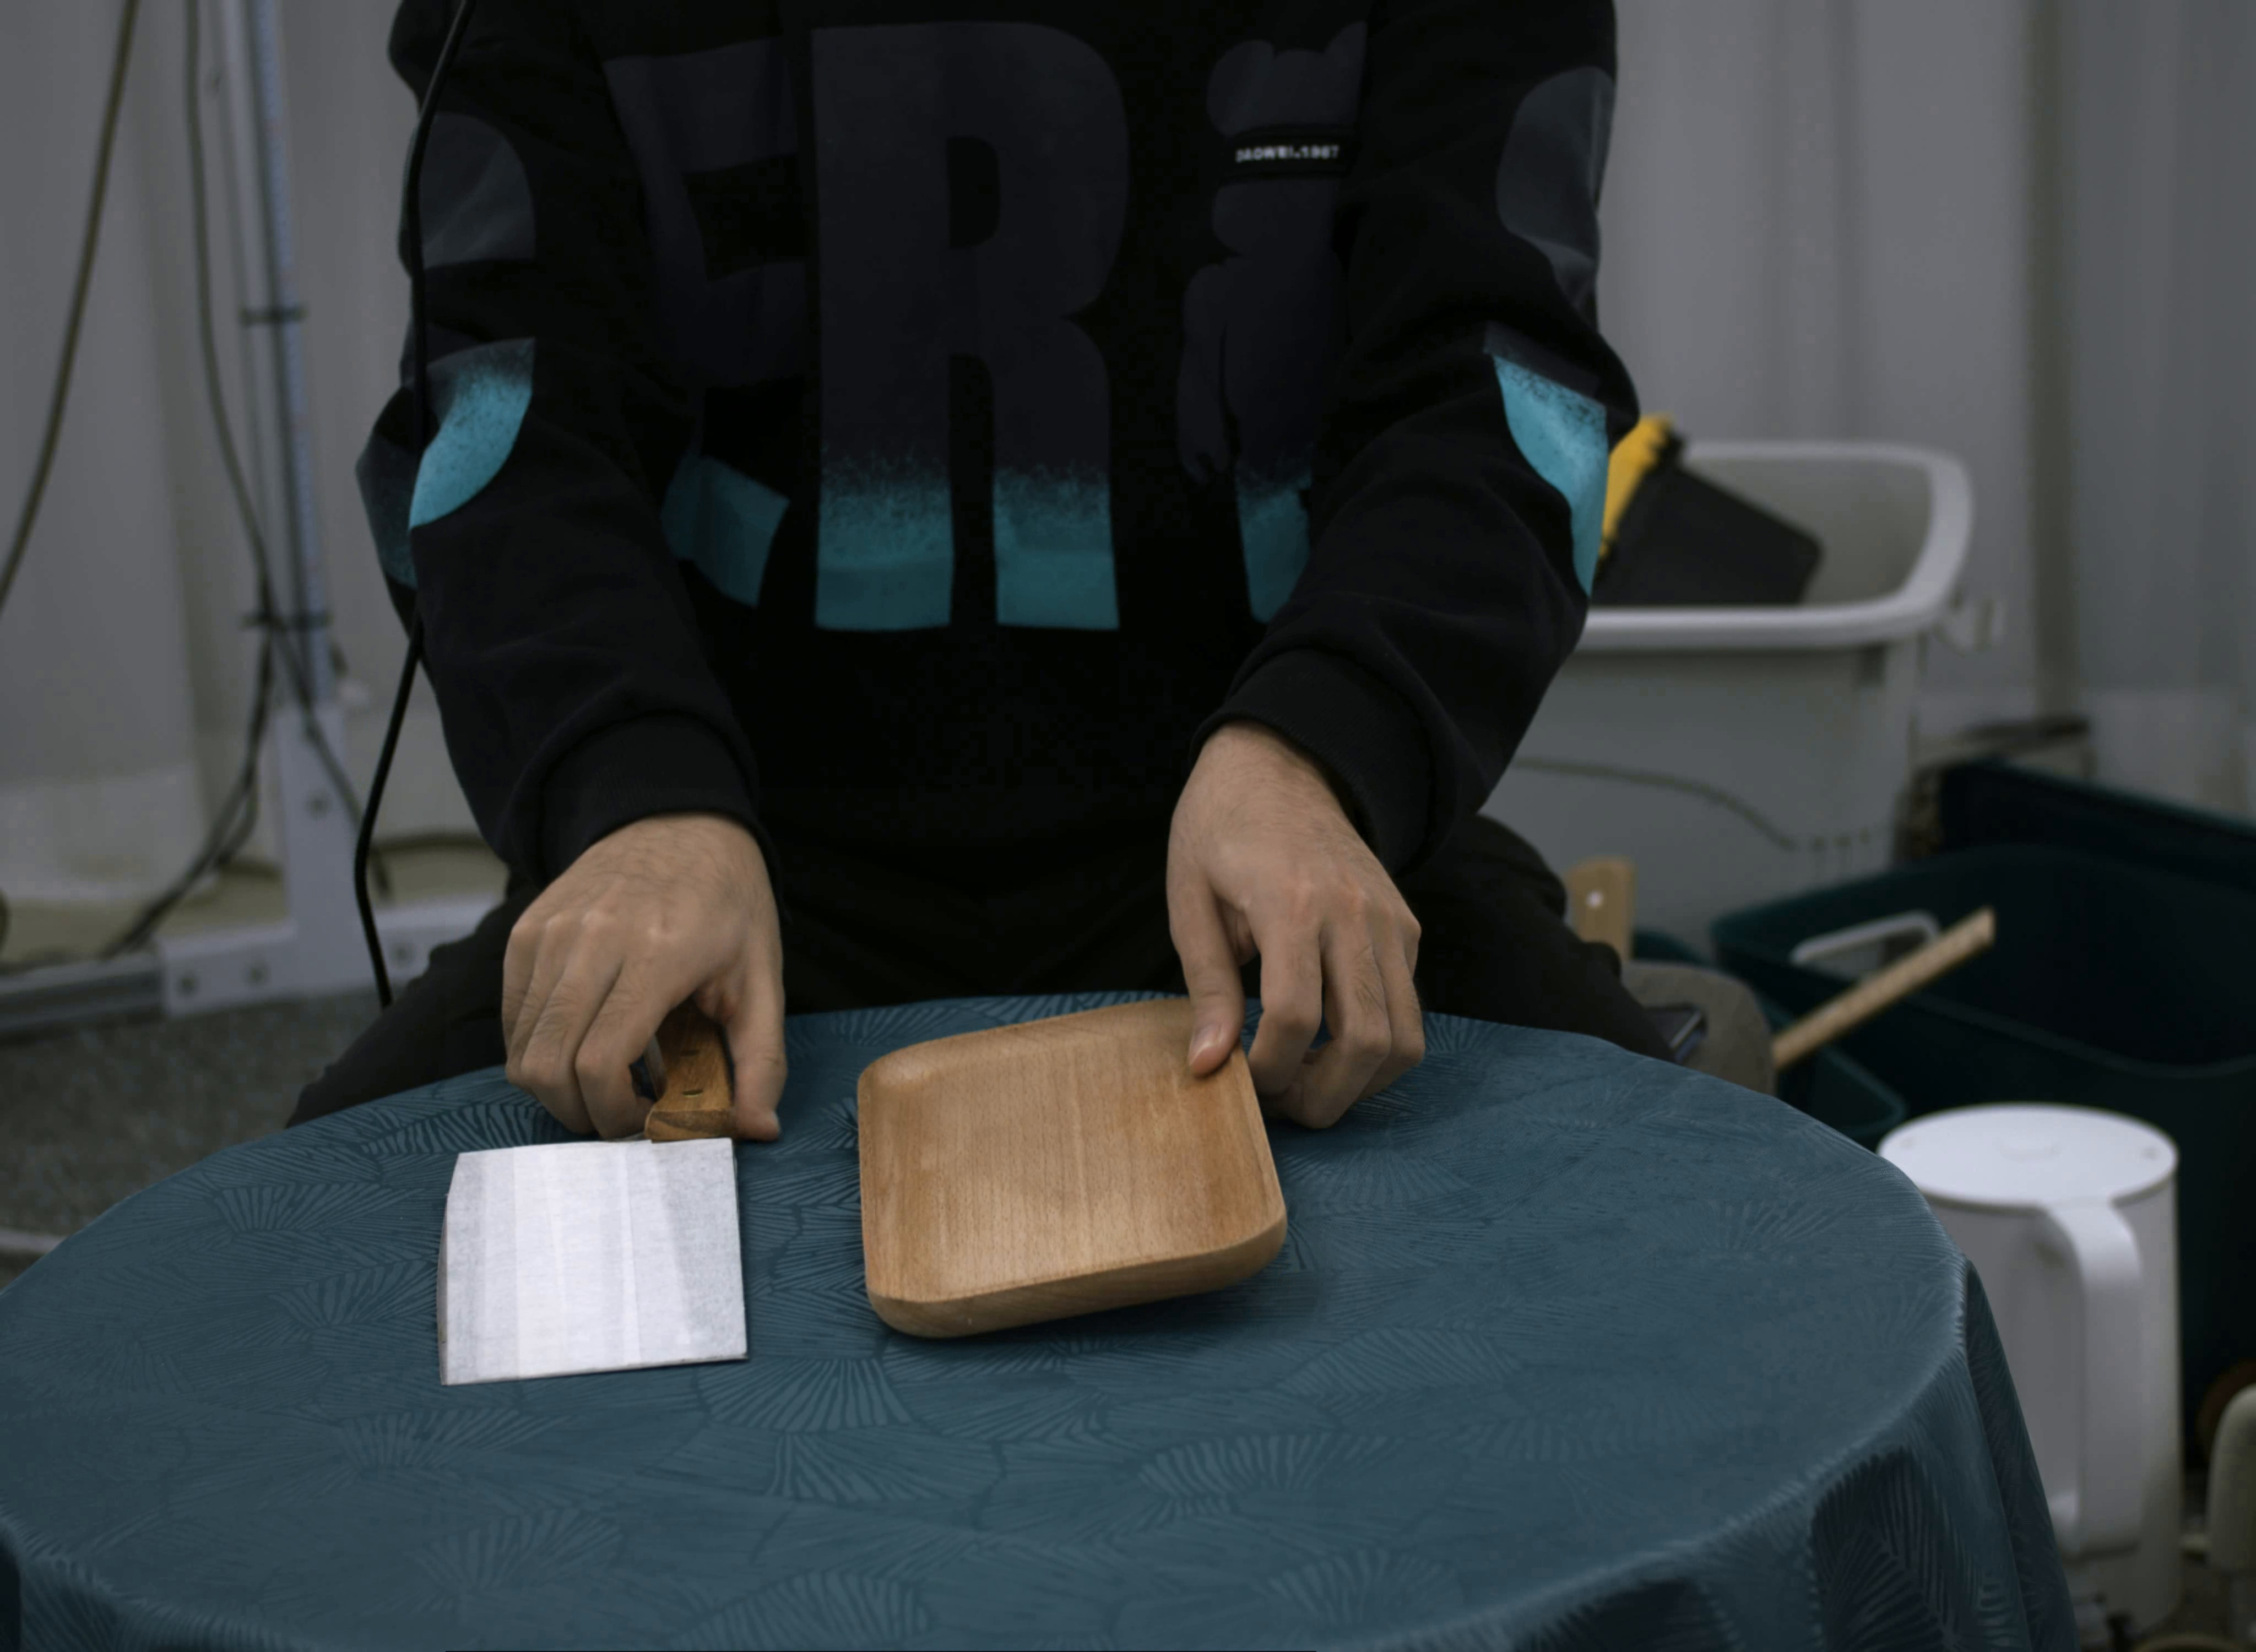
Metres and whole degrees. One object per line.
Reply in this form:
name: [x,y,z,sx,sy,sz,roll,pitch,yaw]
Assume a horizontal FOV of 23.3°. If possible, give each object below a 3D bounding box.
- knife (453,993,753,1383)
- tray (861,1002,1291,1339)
knife: [-0.166,0.113,1.726,0.092,0.021,0.308,-5,18,-4]
tray: [-0.019,0.105,1.703,0.130,0.023,0.252,-7,14,0]
